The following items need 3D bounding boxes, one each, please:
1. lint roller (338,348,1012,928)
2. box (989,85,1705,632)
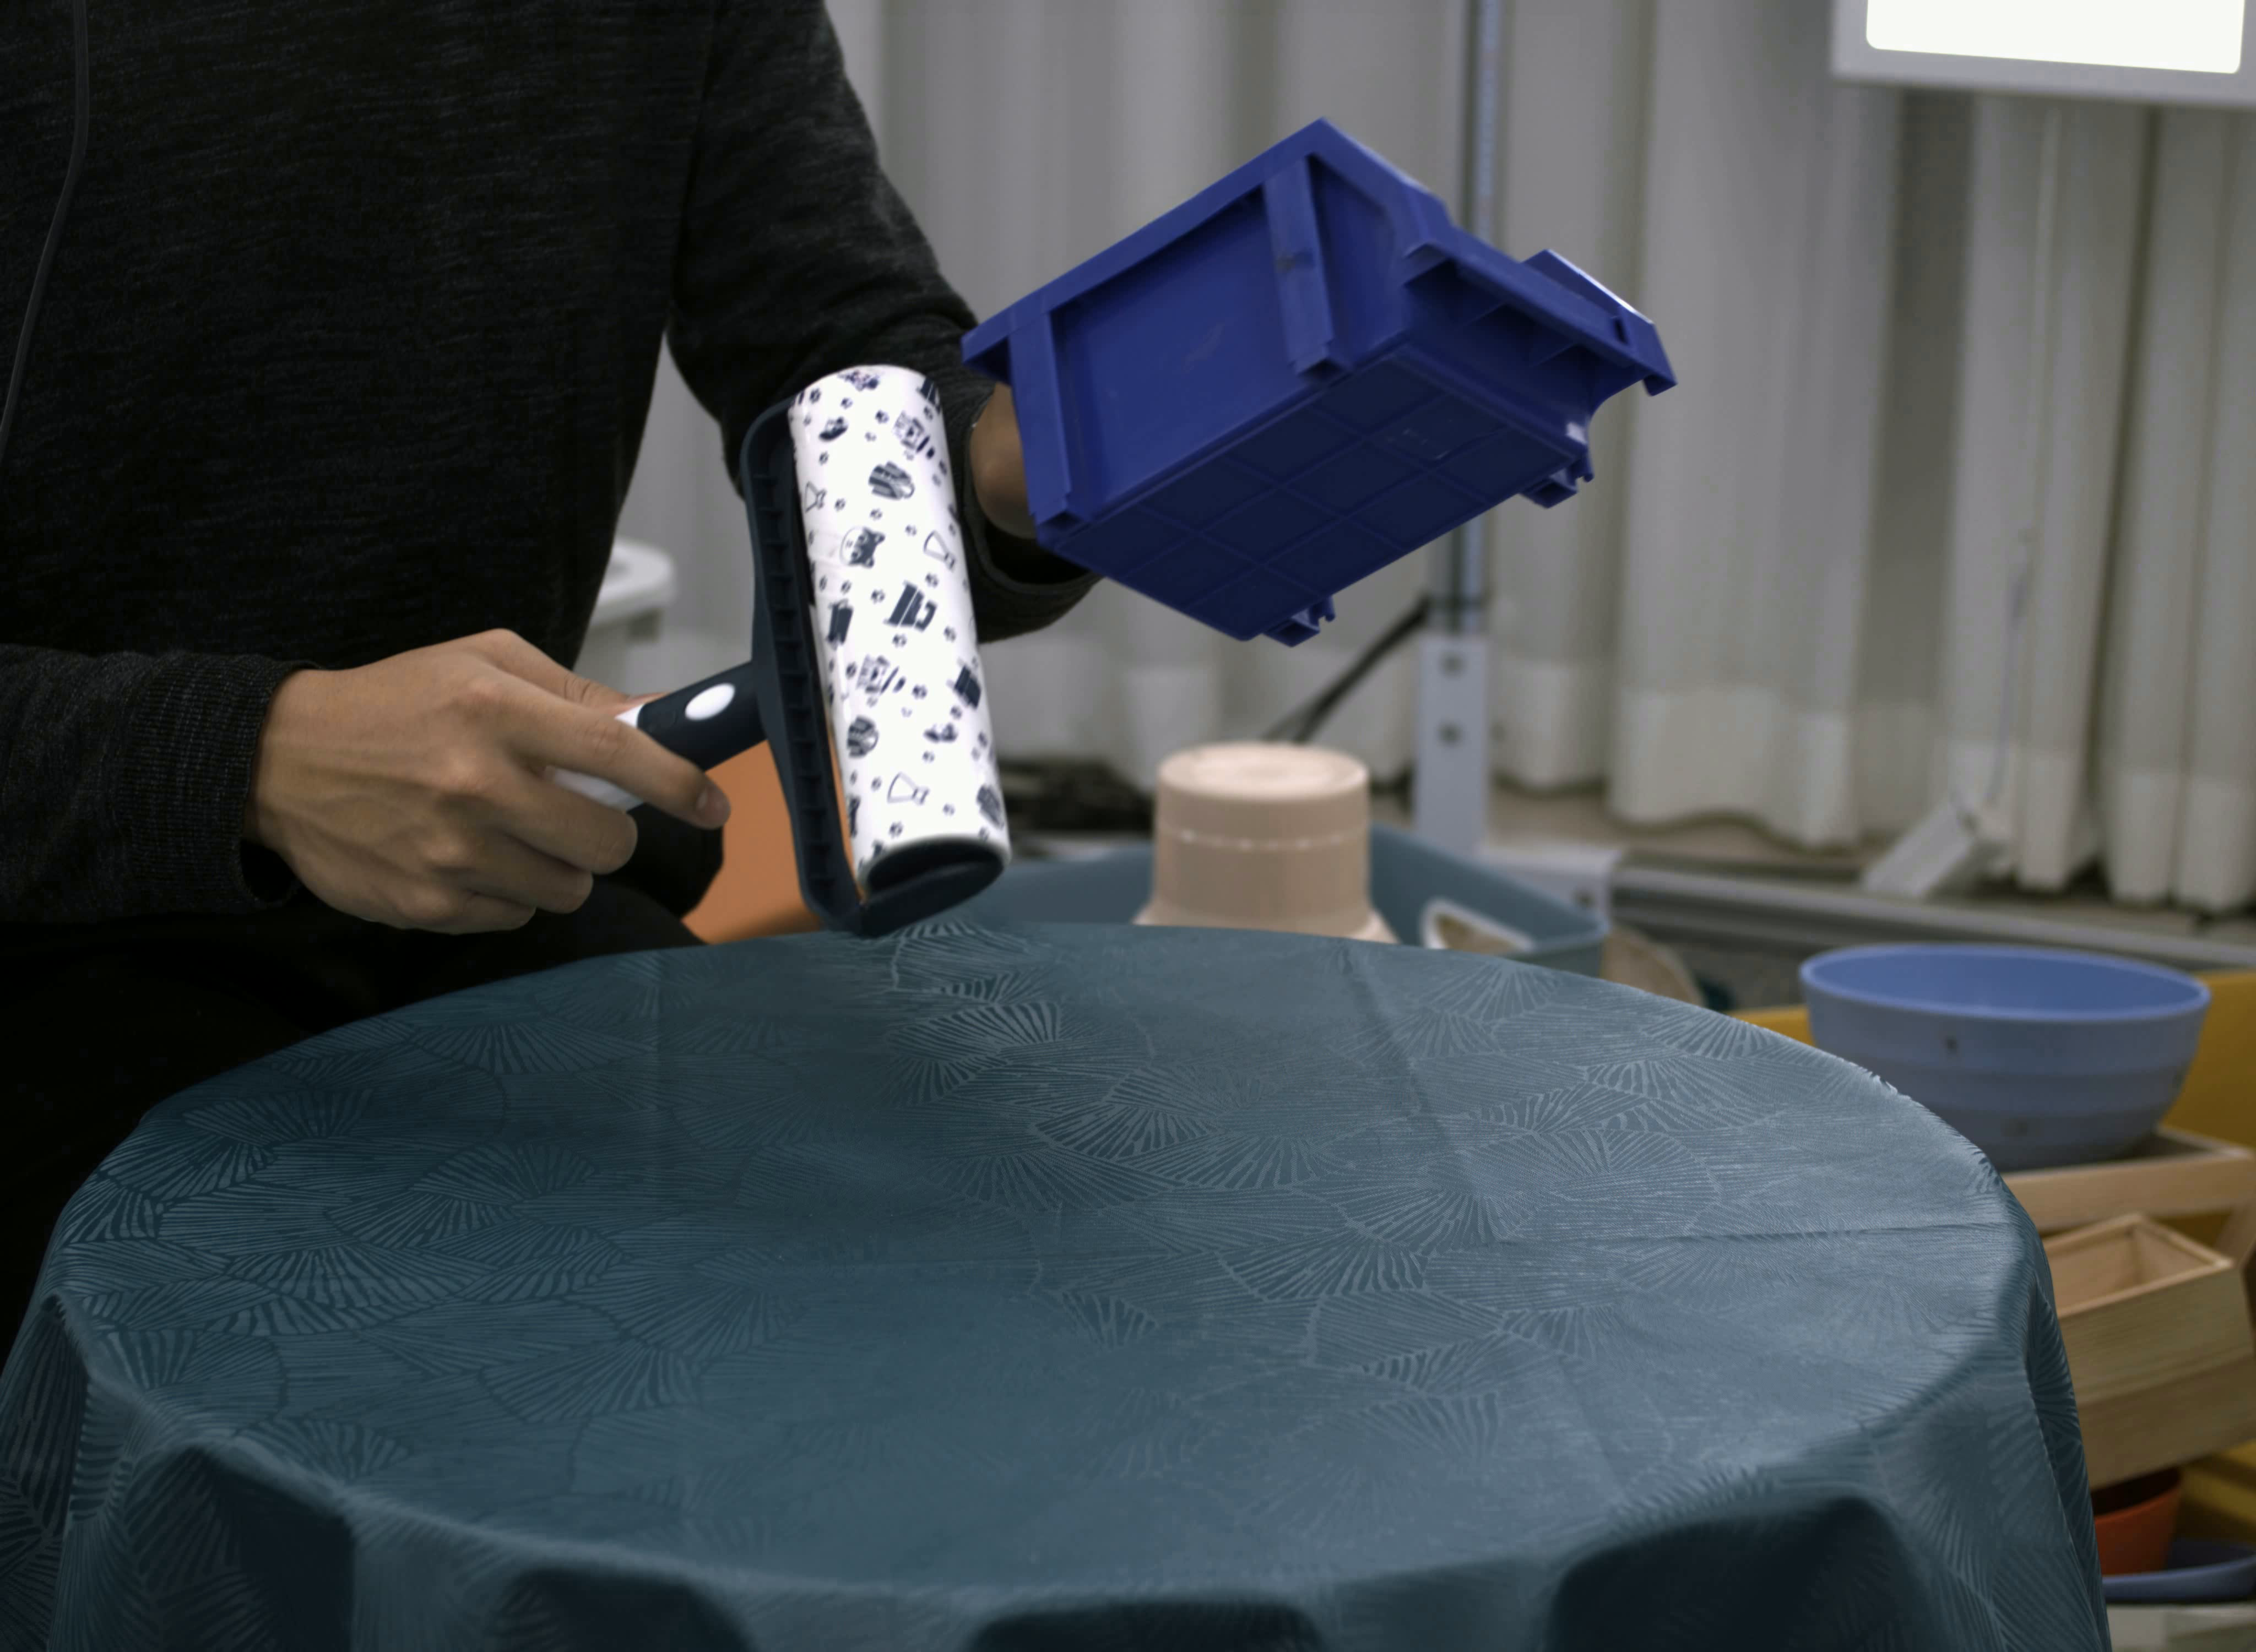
[{"bbox_3d":[-0.151,-0.024,1.619,0.246,0.175,0.051,-23,-27,25],"label":"lint roller"},{"bbox_3d":[0.067,-0.141,1.597,0.179,0.081,0.126,-31,-37,32],"label":"box"}]
